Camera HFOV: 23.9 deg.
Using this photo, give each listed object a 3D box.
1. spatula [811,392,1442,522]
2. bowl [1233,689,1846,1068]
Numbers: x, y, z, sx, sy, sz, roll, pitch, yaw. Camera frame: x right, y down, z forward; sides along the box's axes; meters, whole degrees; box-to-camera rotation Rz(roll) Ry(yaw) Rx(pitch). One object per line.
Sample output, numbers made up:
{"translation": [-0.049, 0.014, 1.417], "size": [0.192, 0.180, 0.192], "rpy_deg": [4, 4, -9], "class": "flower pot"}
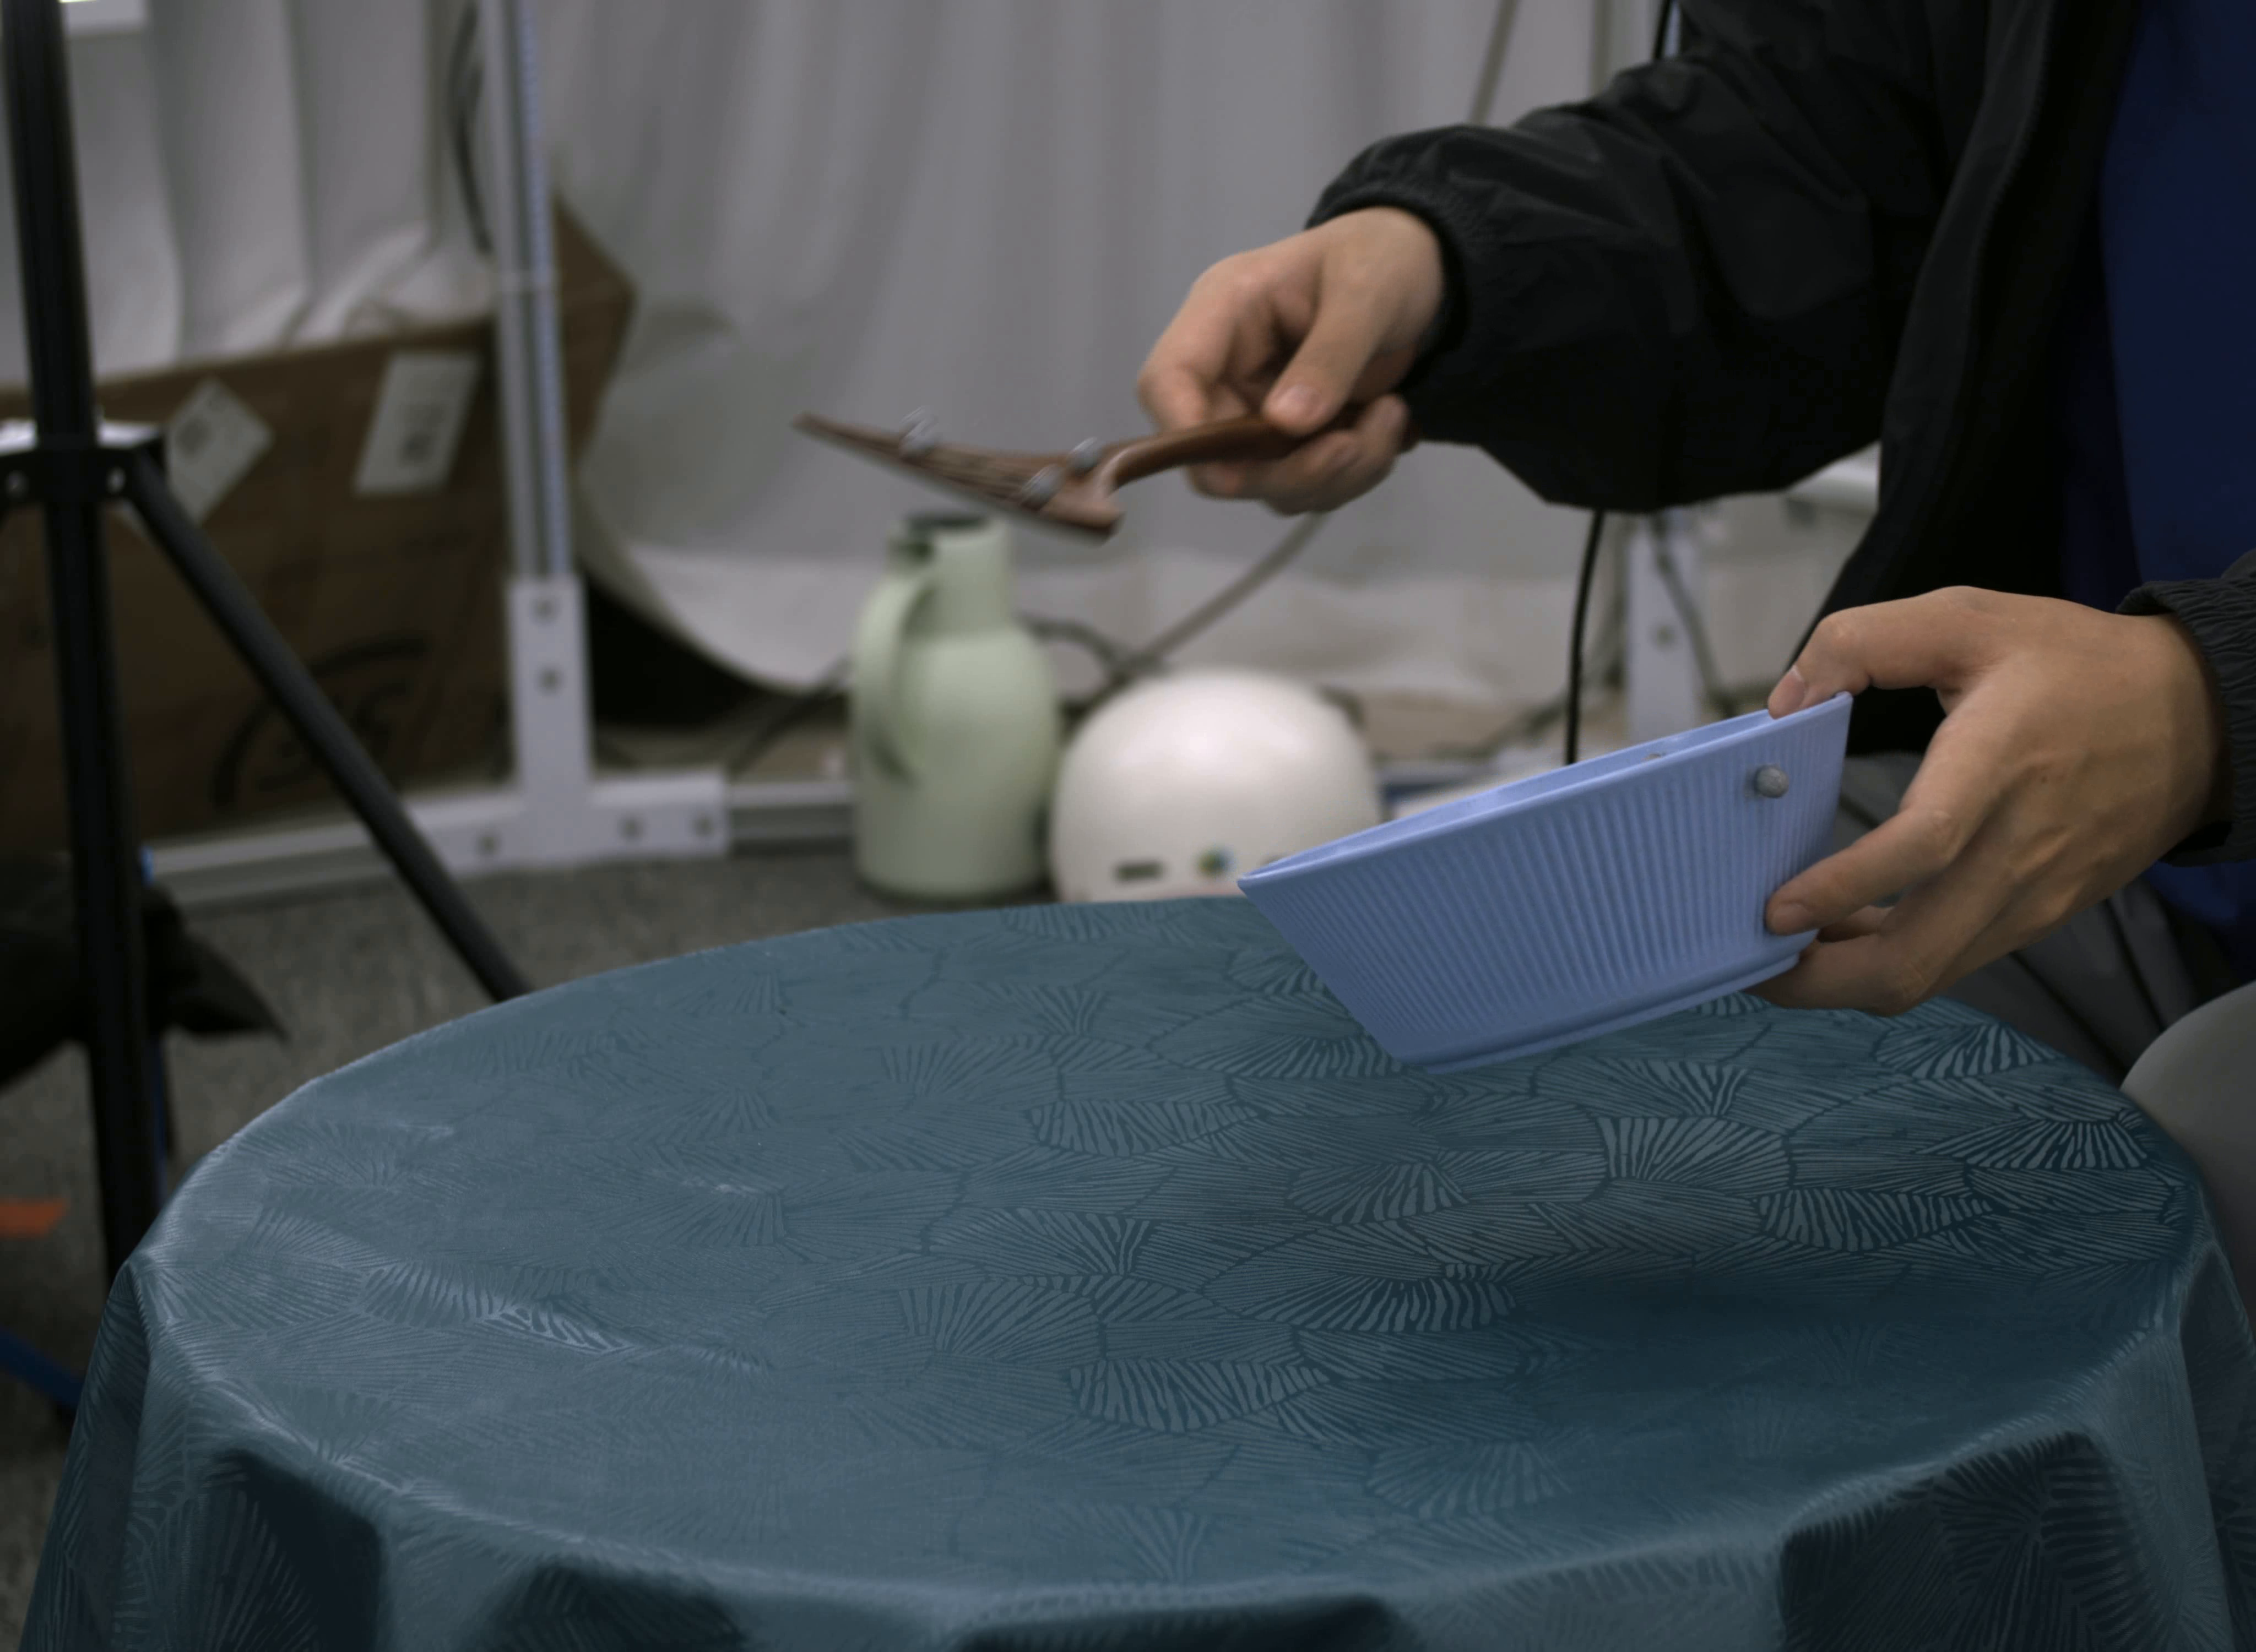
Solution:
{"translation": [0.018, -0.118, 1.671], "size": [0.087, 0.024, 0.379], "rpy_deg": [21, 14, 23], "class": "spatula"}
{"translation": [0.121, 0.019, 1.454], "size": [0.175, 0.070, 0.176], "rpy_deg": [-16, 0, -2], "class": "bowl"}
